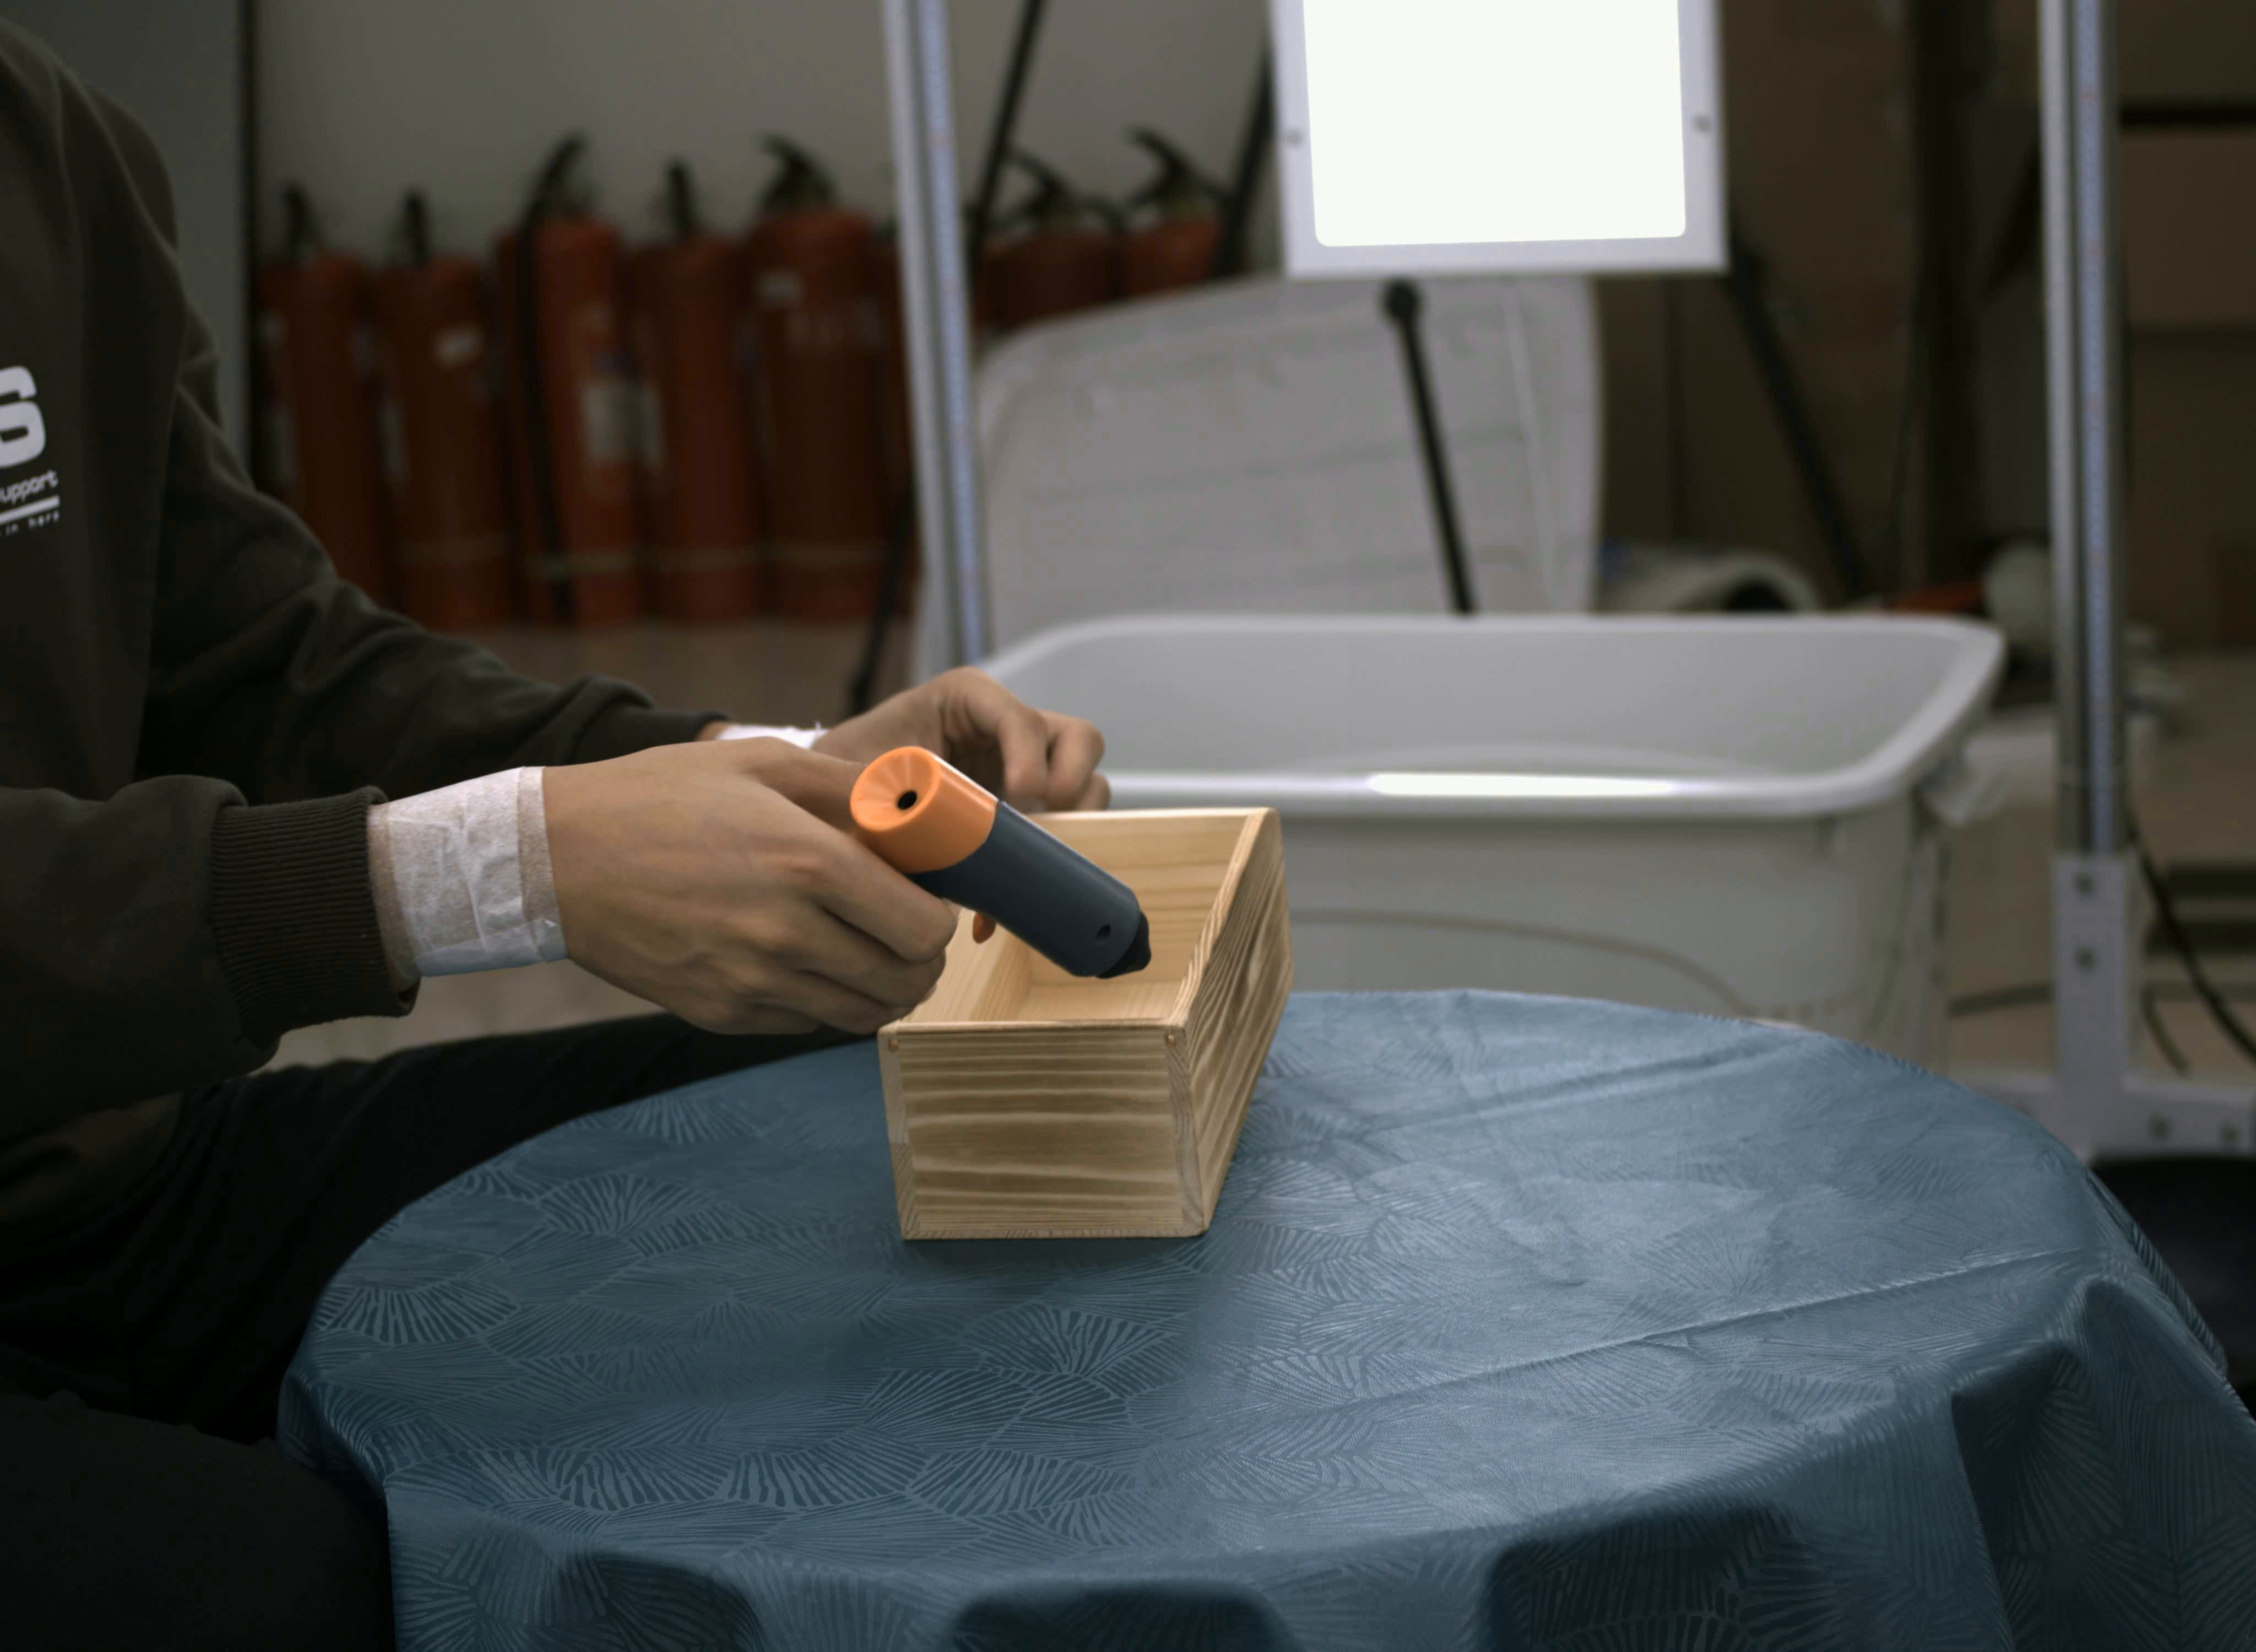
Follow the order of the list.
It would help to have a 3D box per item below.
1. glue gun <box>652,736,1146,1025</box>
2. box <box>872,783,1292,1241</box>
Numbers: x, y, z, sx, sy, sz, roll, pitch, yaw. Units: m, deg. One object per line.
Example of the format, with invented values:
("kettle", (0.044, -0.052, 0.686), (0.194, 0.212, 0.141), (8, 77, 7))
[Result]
("glue gun", (-0.074, 0.025, 1.790), (0.142, 0.117, 0.041), (-12, 46, 24))
("box", (-0.012, 0.063, 1.936), (0.108, 0.080, 0.209), (-3, 22, 12))
